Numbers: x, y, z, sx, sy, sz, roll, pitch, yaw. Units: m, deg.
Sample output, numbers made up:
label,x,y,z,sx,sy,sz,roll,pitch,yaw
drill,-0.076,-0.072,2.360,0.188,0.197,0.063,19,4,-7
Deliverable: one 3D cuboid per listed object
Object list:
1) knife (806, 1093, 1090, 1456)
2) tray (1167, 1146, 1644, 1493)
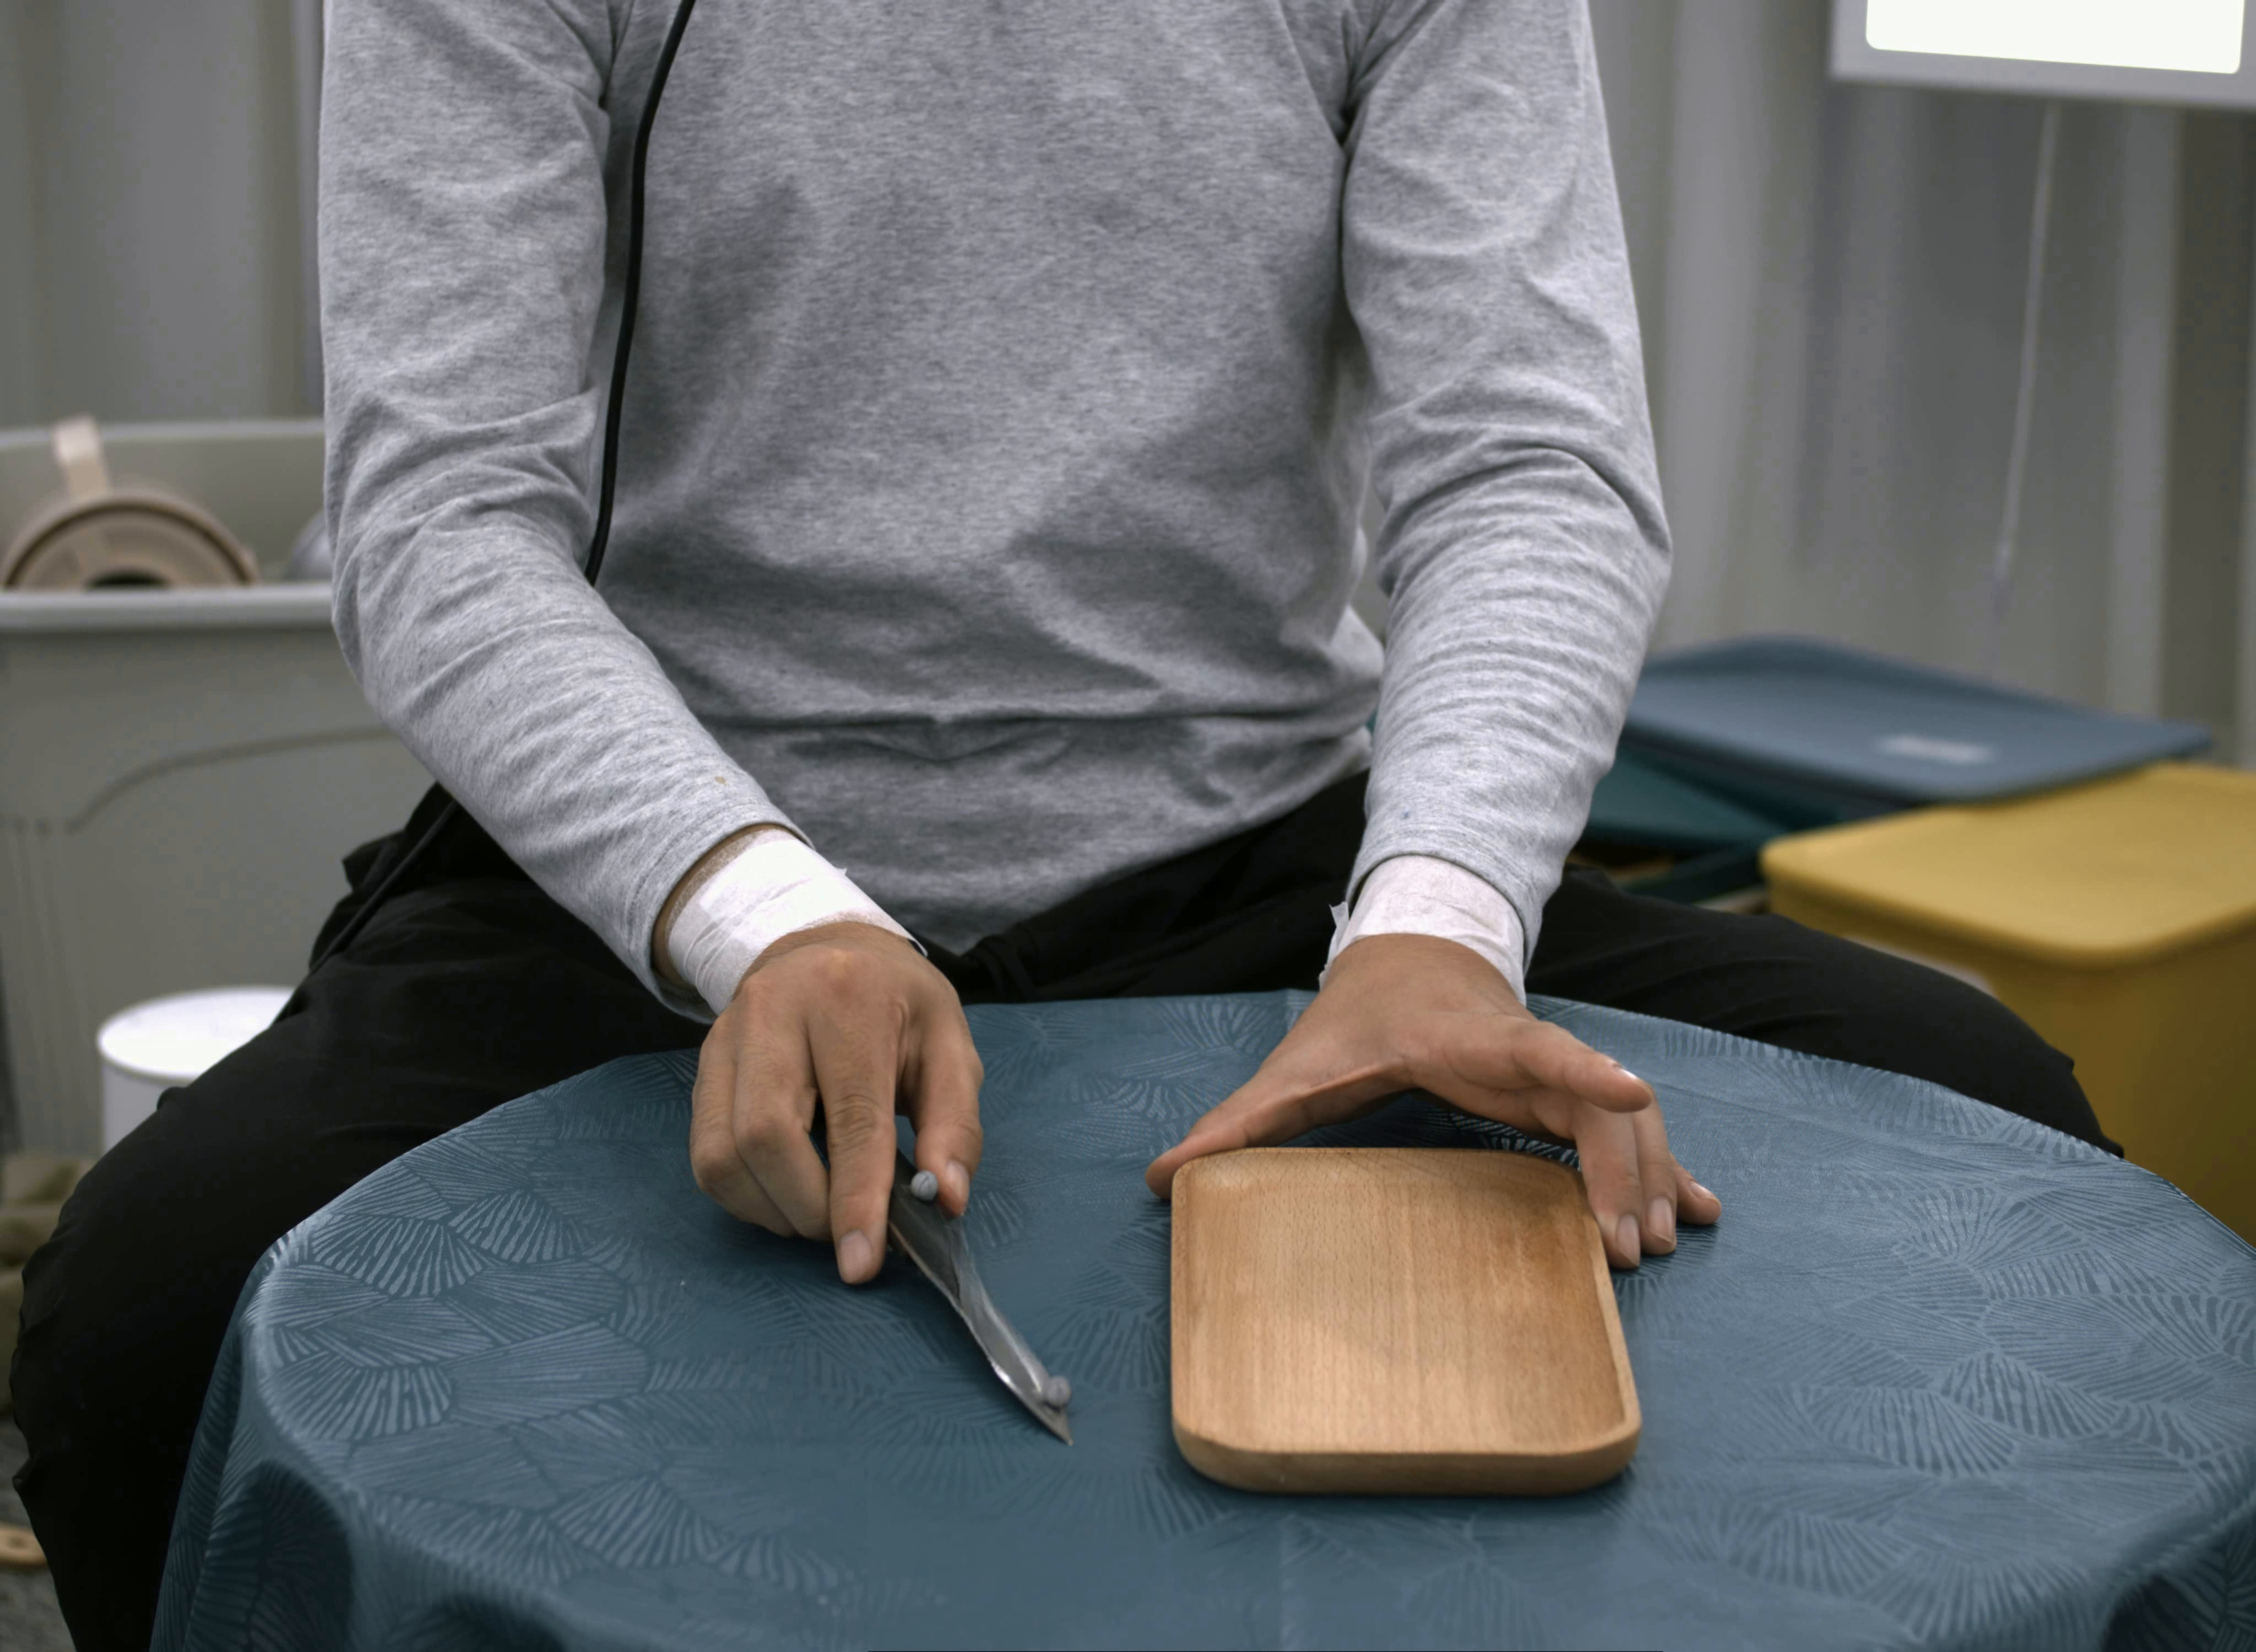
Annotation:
label,x,y,z,sx,sy,sz,roll,pitch,yaw
knife,-0.054,0.128,1.525,0.024,0.016,0.235,15,15,-26
tray,0.076,0.138,1.505,0.130,0.023,0.249,3,14,1
